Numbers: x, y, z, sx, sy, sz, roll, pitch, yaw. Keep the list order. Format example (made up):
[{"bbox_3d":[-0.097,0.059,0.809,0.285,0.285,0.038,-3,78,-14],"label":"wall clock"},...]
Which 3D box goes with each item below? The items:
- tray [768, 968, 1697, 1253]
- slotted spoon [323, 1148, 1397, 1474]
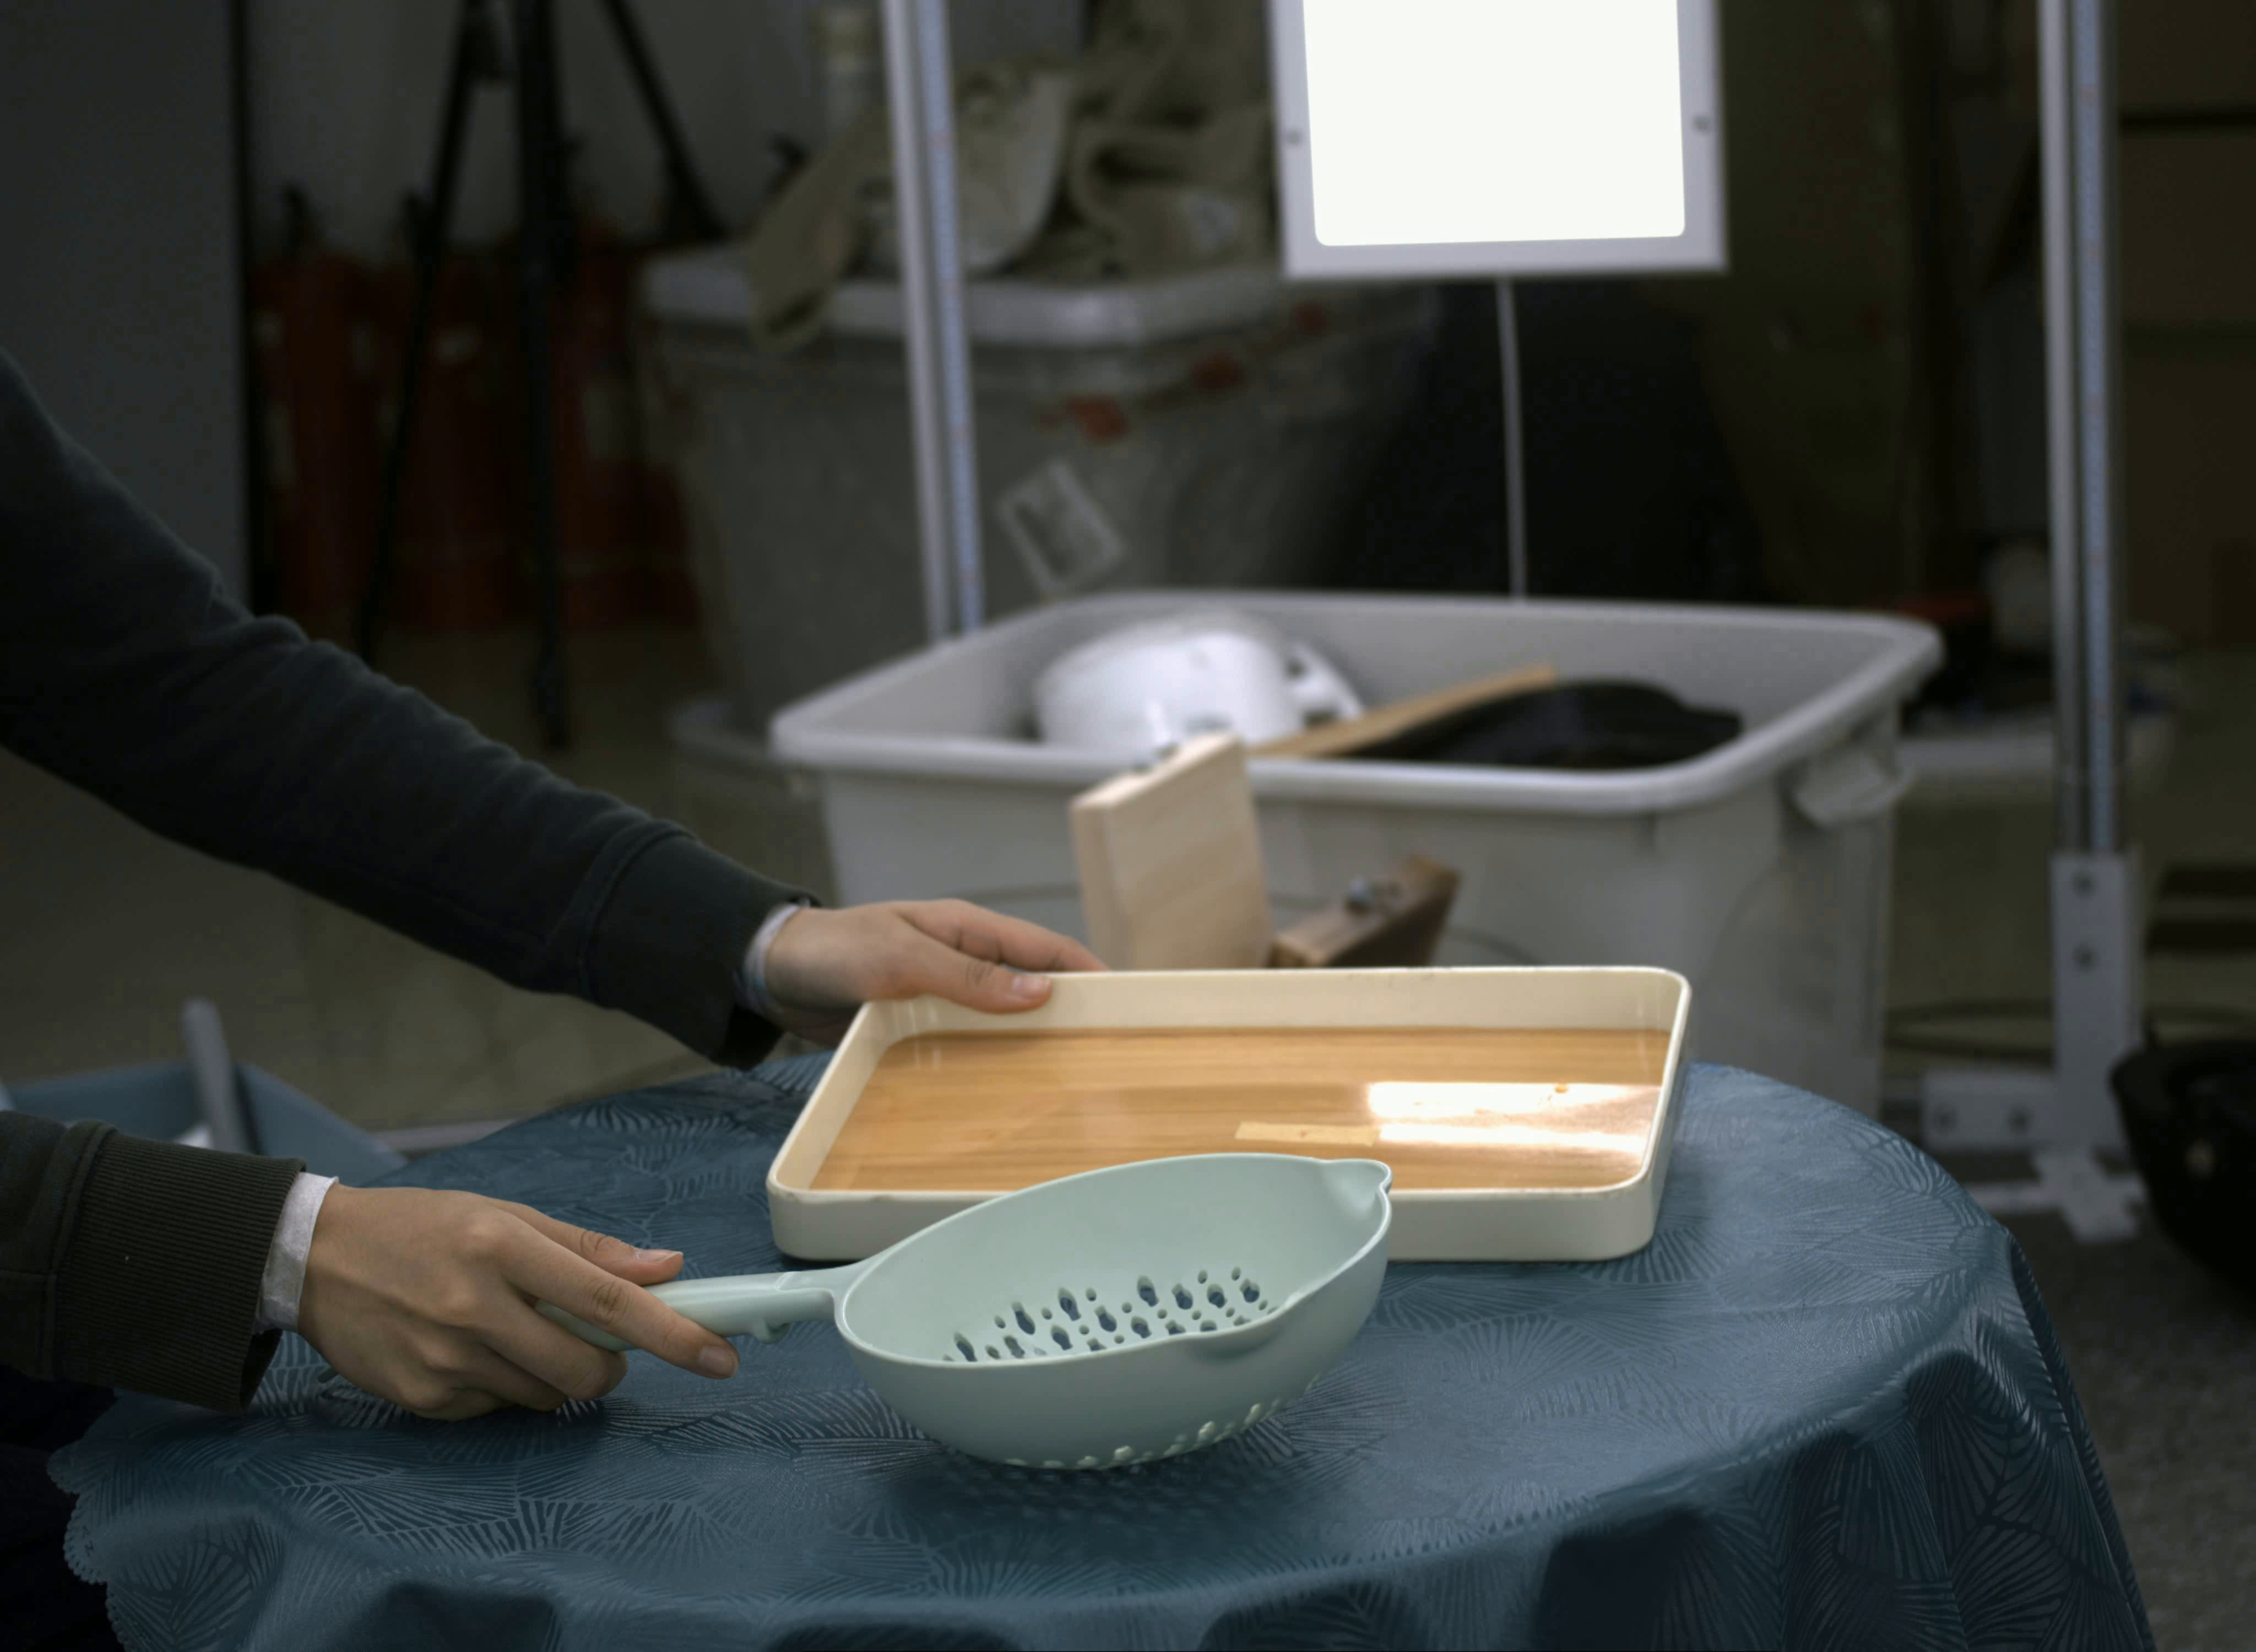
[{"bbox_3d":[0.040,0.097,1.893,0.303,0.027,0.189,-1,21,14],"label":"tray"},{"bbox_3d":[-0.091,0.148,1.691,0.364,0.075,0.166,3,19,22],"label":"slotted spoon"}]
